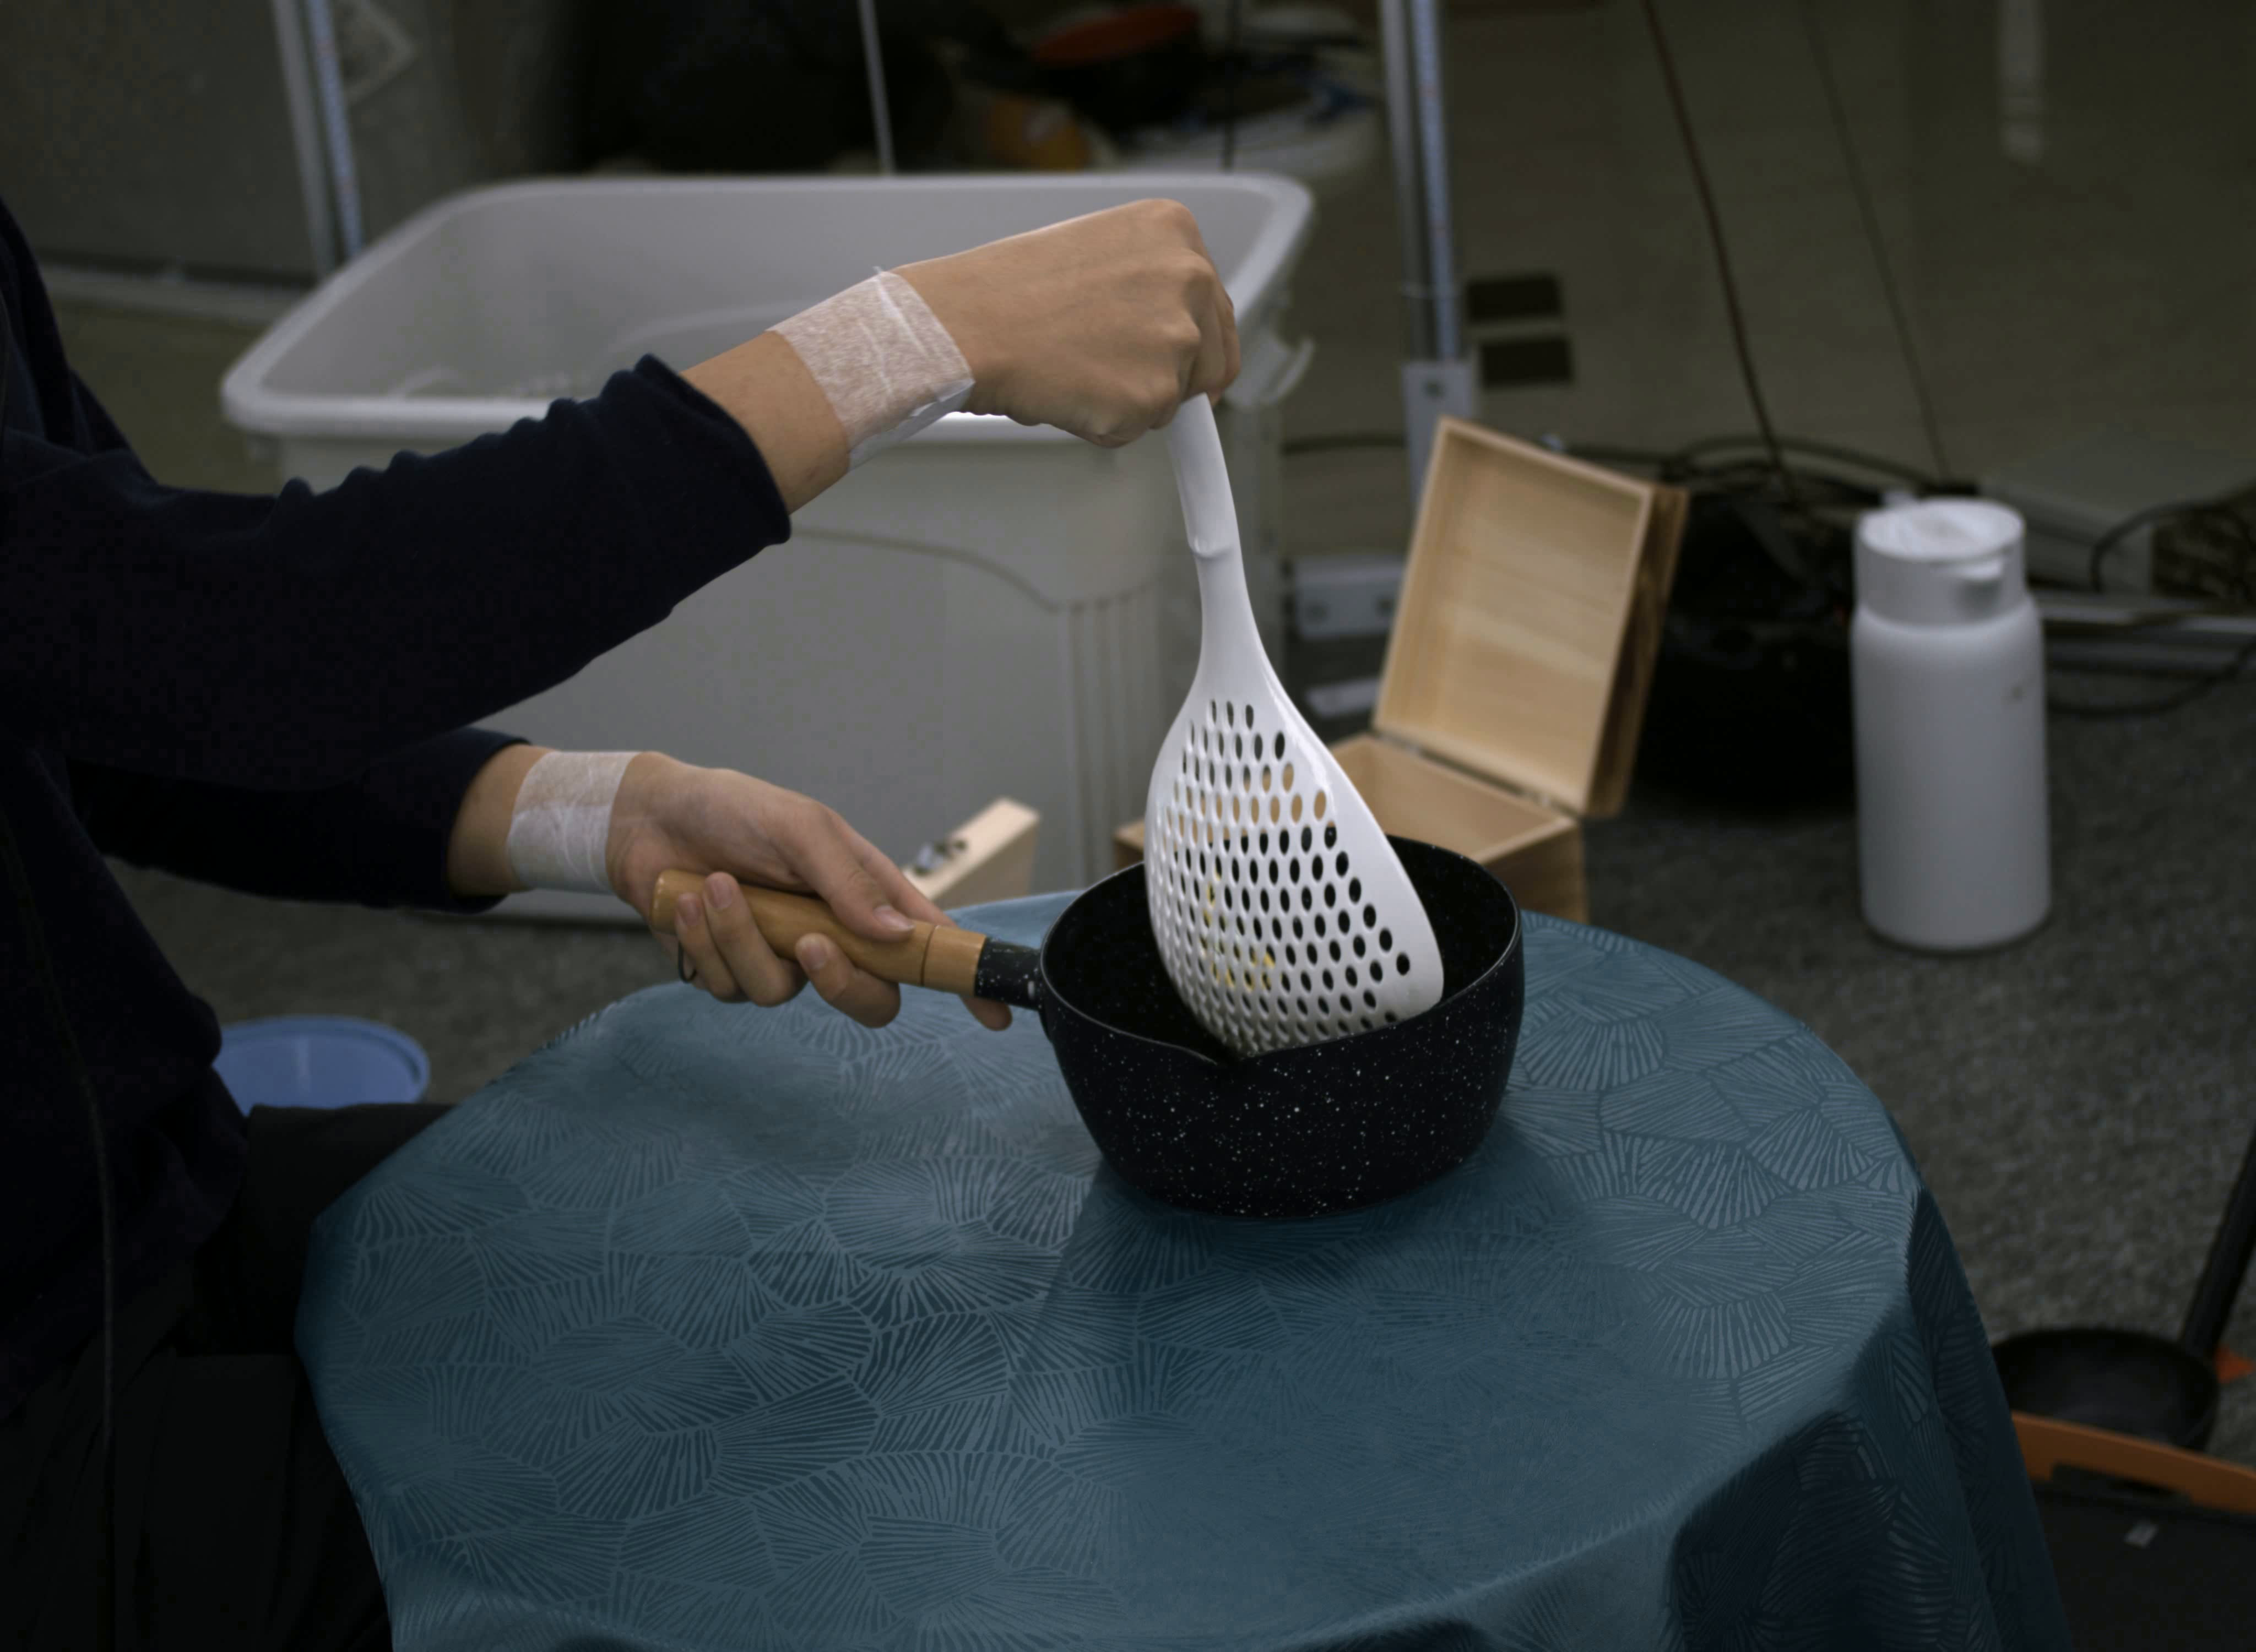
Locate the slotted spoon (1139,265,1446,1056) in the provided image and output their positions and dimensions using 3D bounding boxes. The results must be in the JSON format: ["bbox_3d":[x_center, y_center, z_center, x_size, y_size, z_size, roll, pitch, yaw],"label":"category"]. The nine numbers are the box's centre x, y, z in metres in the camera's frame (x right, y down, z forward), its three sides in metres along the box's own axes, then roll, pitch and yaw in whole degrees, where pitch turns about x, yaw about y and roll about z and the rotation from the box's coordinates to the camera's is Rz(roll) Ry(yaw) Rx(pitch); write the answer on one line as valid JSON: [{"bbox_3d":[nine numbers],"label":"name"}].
[{"bbox_3d":[0.037,-0.049,2.079,0.136,0.353,0.050,12,31,35],"label":"slotted spoon"}]

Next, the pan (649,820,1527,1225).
[{"bbox_3d":[-0.017,0.069,2.173,0.342,0.110,0.204,1,27,13],"label":"pan"}]
